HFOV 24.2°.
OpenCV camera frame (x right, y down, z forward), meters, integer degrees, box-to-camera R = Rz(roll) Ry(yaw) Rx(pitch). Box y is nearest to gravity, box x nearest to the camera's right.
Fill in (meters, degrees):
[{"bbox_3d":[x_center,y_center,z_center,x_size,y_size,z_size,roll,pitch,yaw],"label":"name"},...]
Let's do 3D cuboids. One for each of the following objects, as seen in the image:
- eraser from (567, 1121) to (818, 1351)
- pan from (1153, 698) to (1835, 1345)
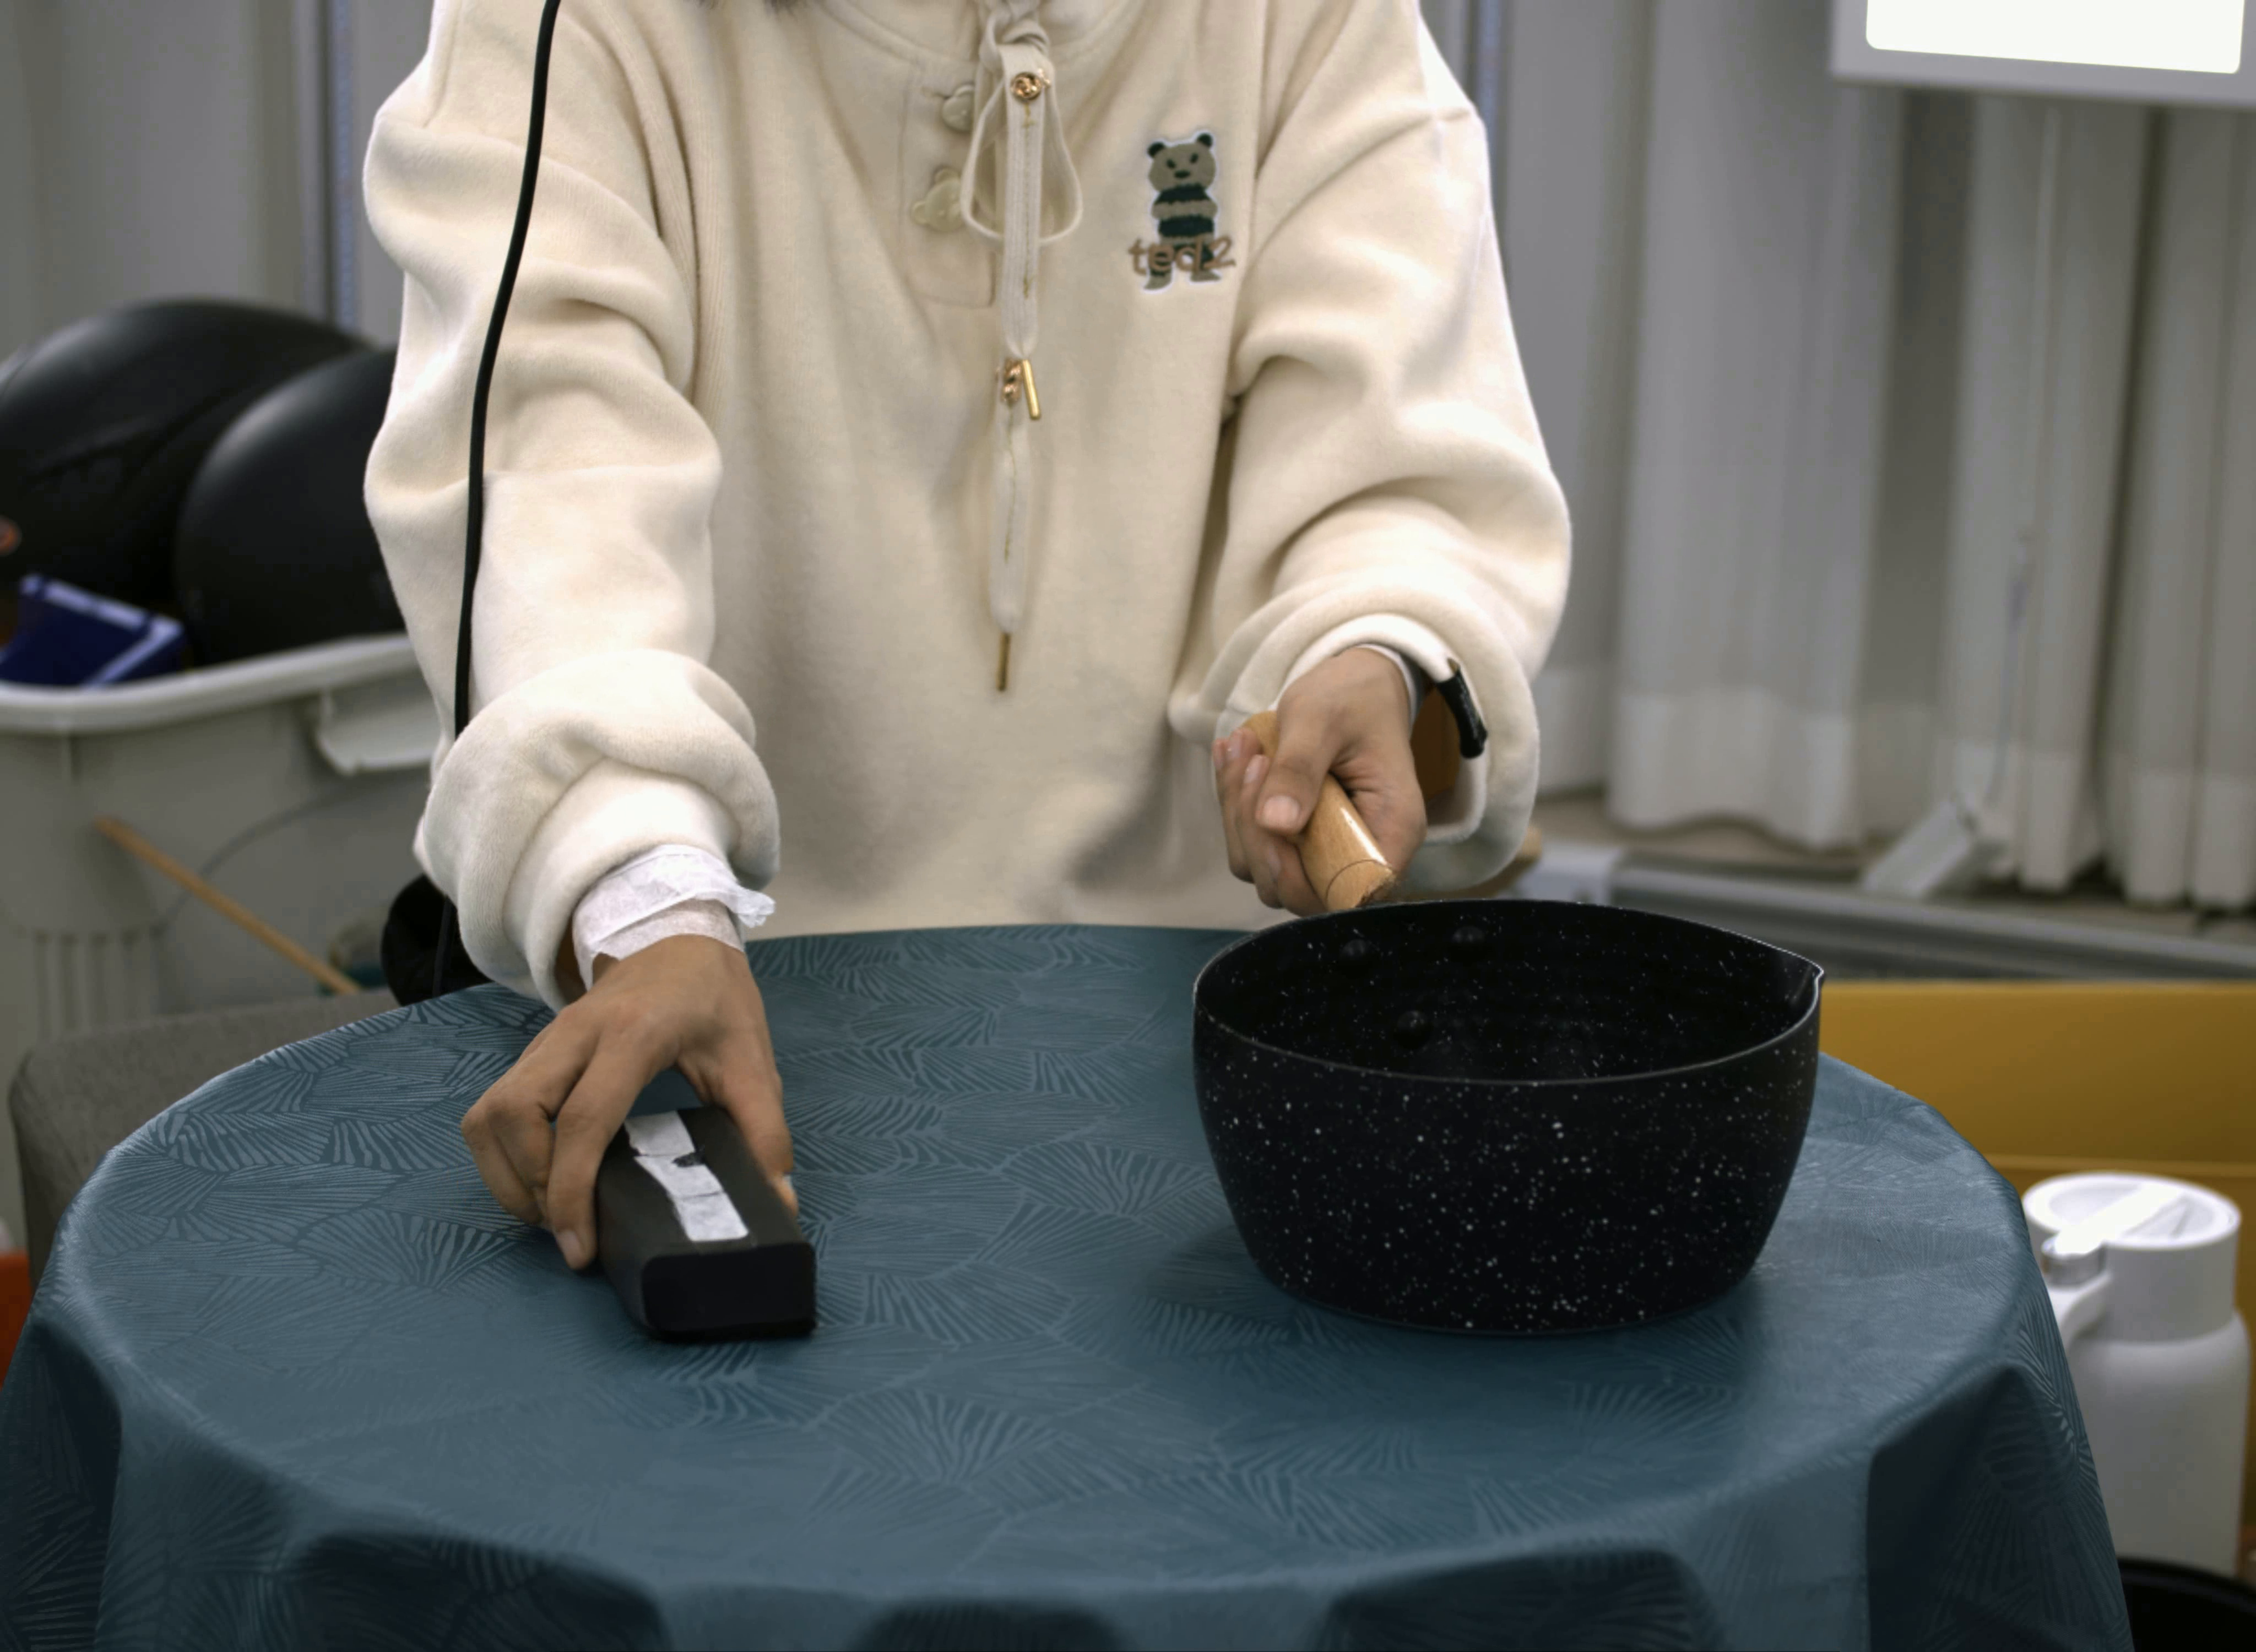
[{"bbox_3d":[-0.128,0.119,1.540,0.053,0.031,0.124,-3,16,-15],"label":"eraser"},{"bbox_3d":[0.090,0.055,1.627,0.208,0.109,0.339,-5,18,-15],"label":"pan"}]
